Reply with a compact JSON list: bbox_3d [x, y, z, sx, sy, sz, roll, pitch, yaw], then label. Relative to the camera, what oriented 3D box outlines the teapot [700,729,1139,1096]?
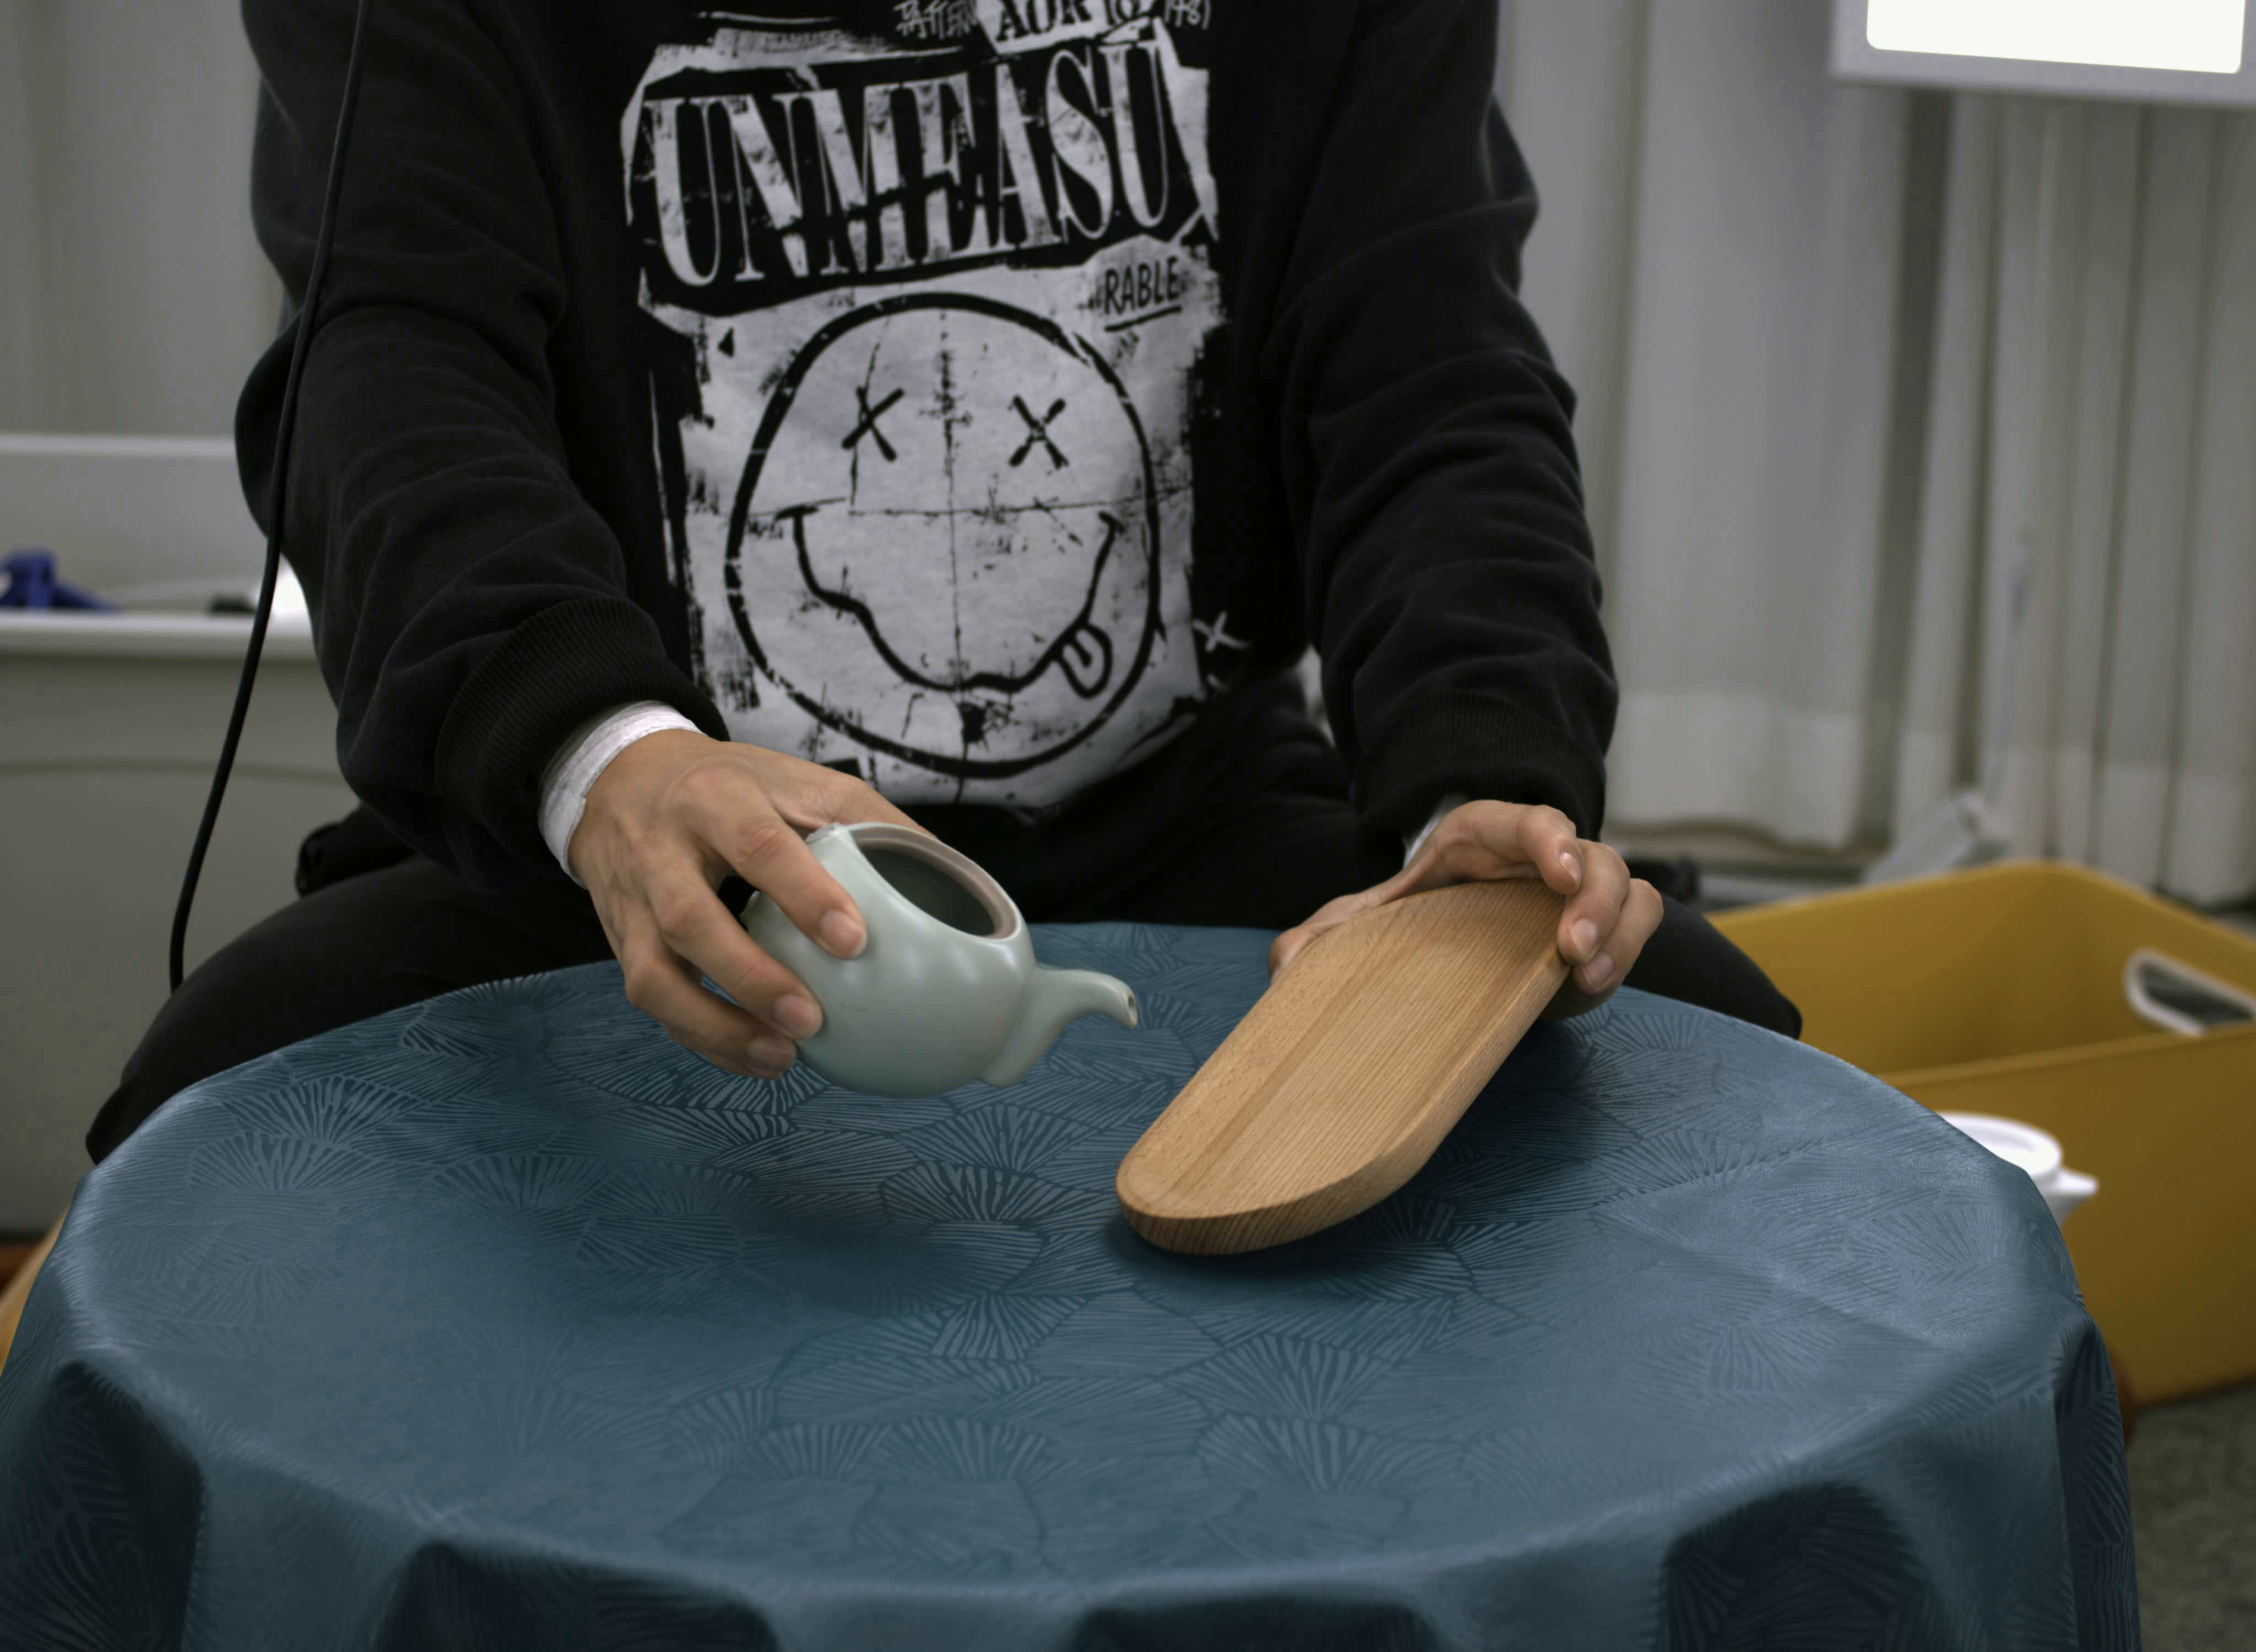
[{"bbox_3d":[-0.072,0.038,1.575,0.143,0.075,0.088,37,20,1],"label":"teapot"}]

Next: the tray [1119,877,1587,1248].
[{"bbox_3d":[0.073,0.071,1.641,0.101,0.020,0.231,-6,21,28],"label":"tray"}]
